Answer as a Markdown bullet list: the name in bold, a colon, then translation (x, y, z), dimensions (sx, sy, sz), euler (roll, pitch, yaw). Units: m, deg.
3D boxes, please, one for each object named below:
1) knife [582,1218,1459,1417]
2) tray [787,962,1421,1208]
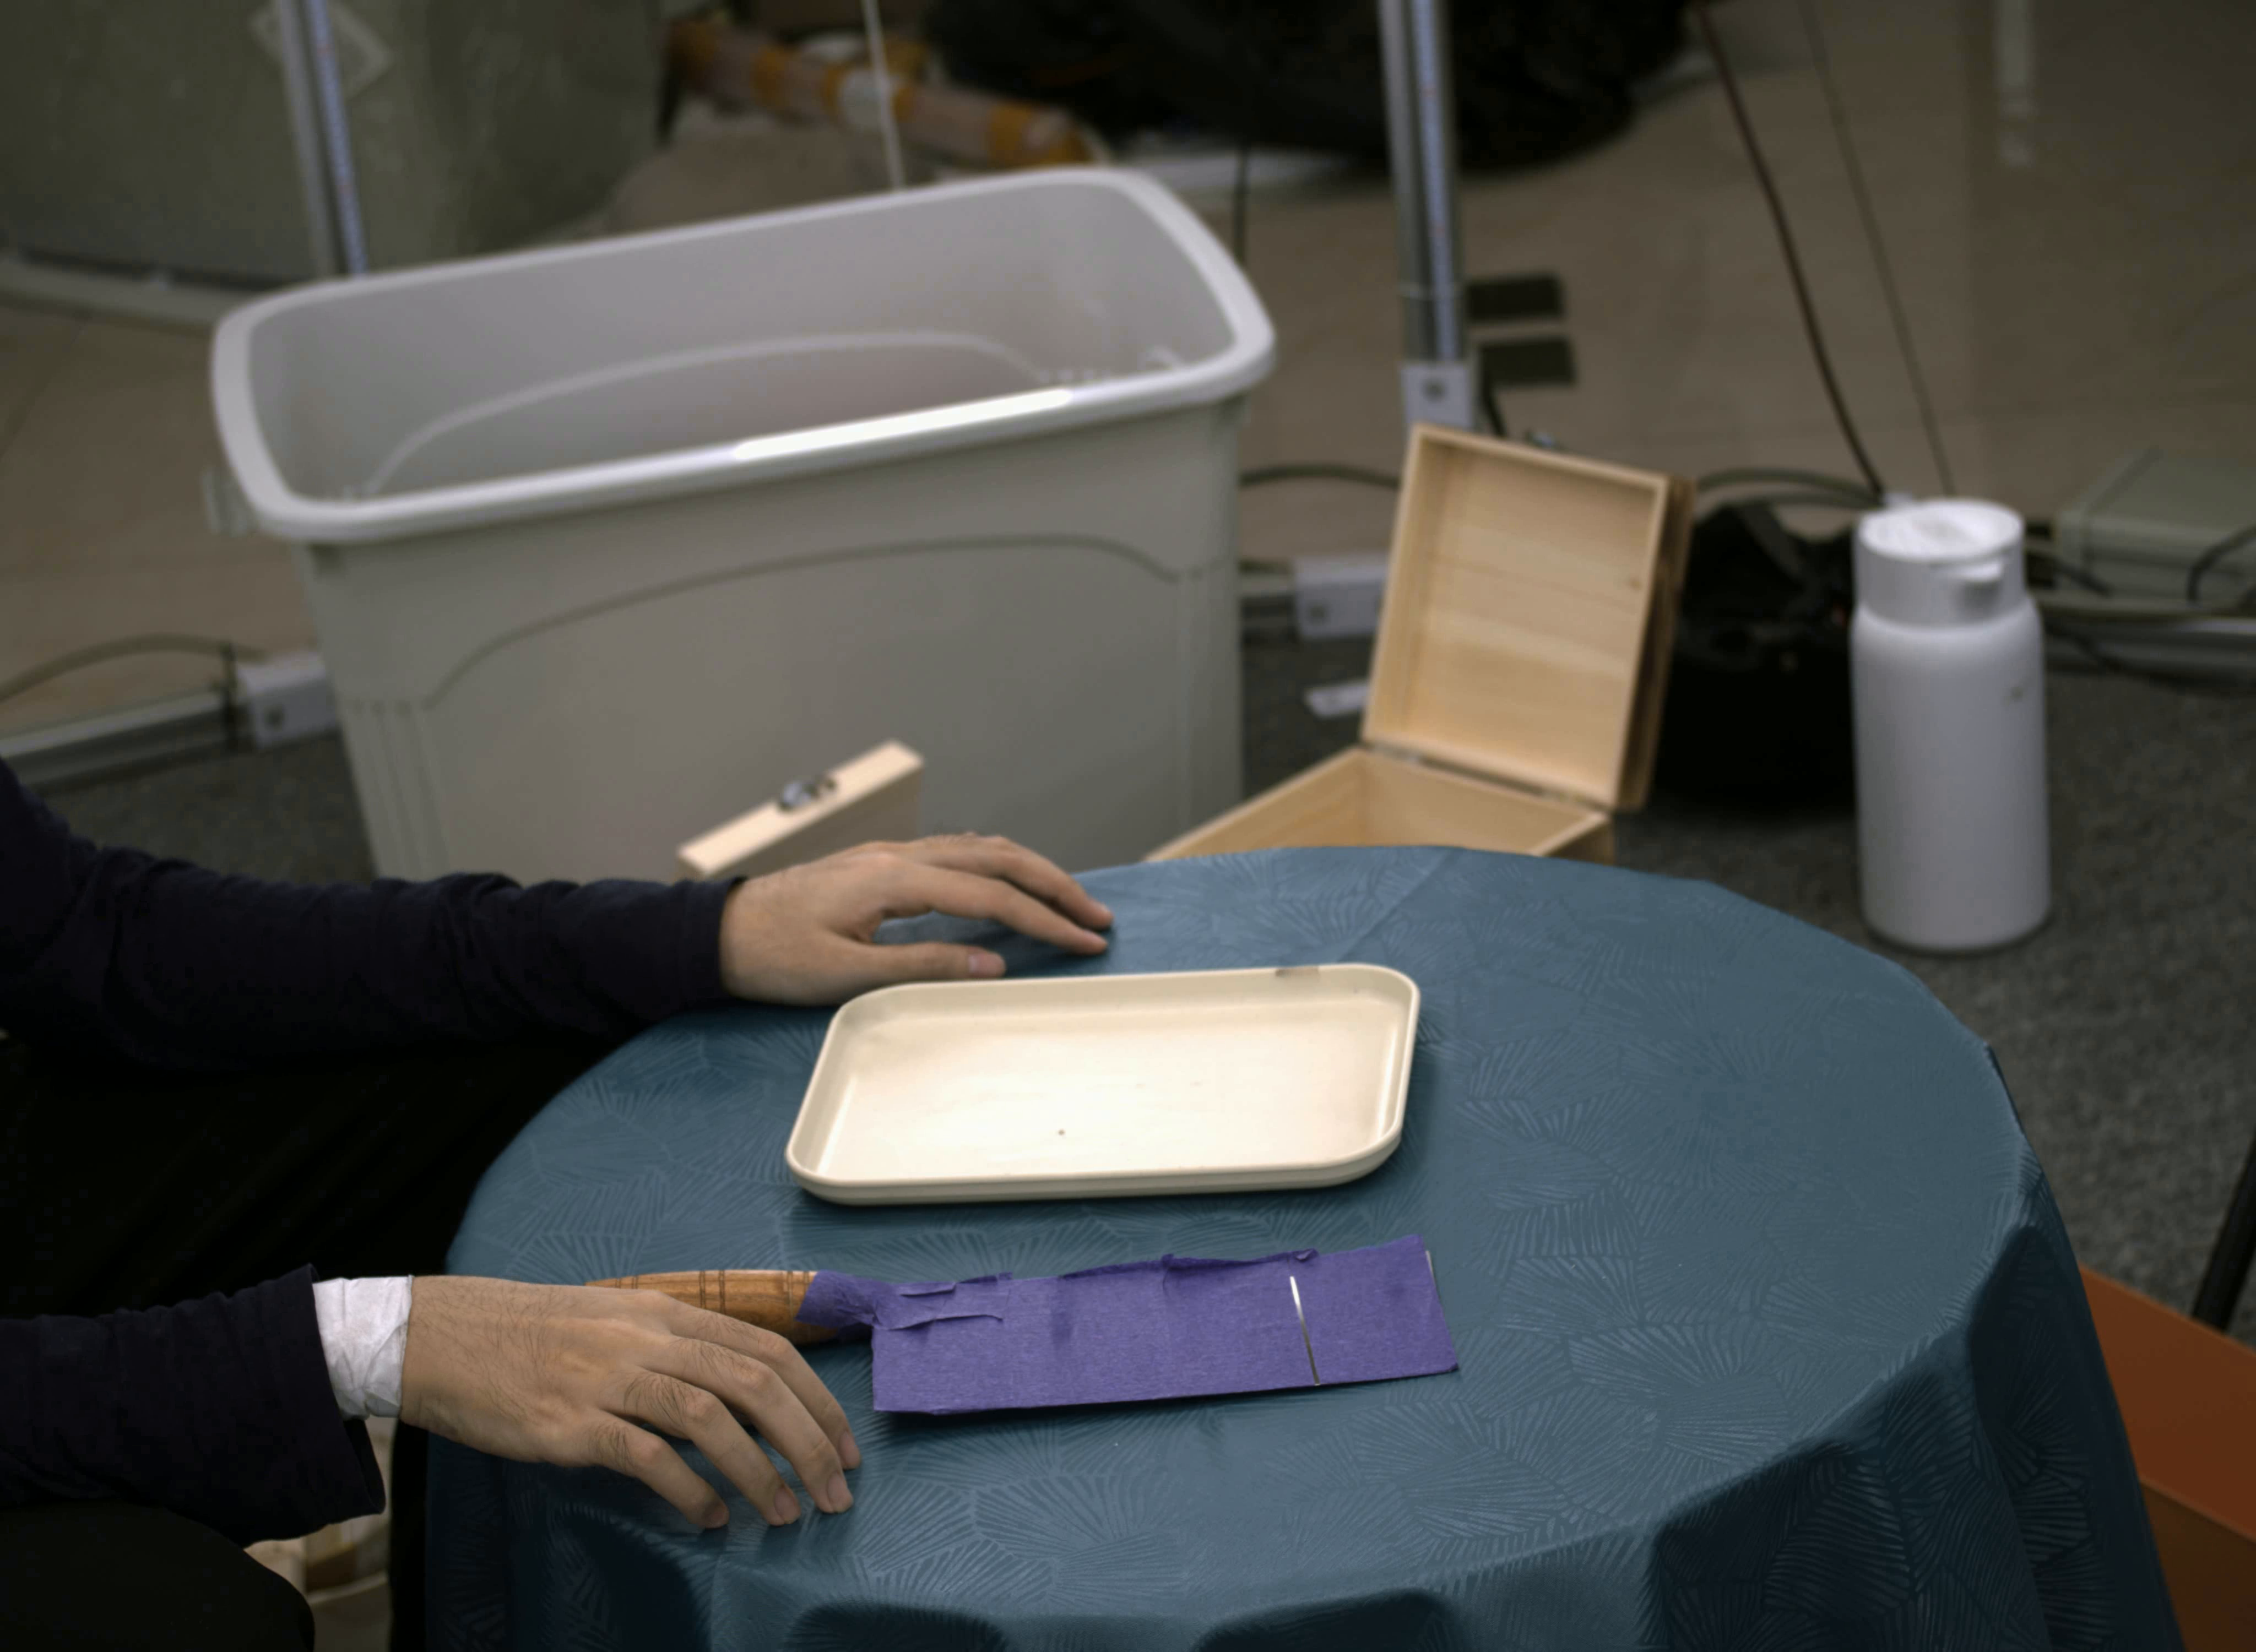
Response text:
- **knife**: translation (-0.040, 0.180, 2.041), dimensions (0.315, 0.033, 0.102), euler (-7, 25, -1)
- **tray**: translation (-0.007, 0.102, 2.212), dimensions (0.239, 0.018, 0.169), euler (-3, 26, 9)
